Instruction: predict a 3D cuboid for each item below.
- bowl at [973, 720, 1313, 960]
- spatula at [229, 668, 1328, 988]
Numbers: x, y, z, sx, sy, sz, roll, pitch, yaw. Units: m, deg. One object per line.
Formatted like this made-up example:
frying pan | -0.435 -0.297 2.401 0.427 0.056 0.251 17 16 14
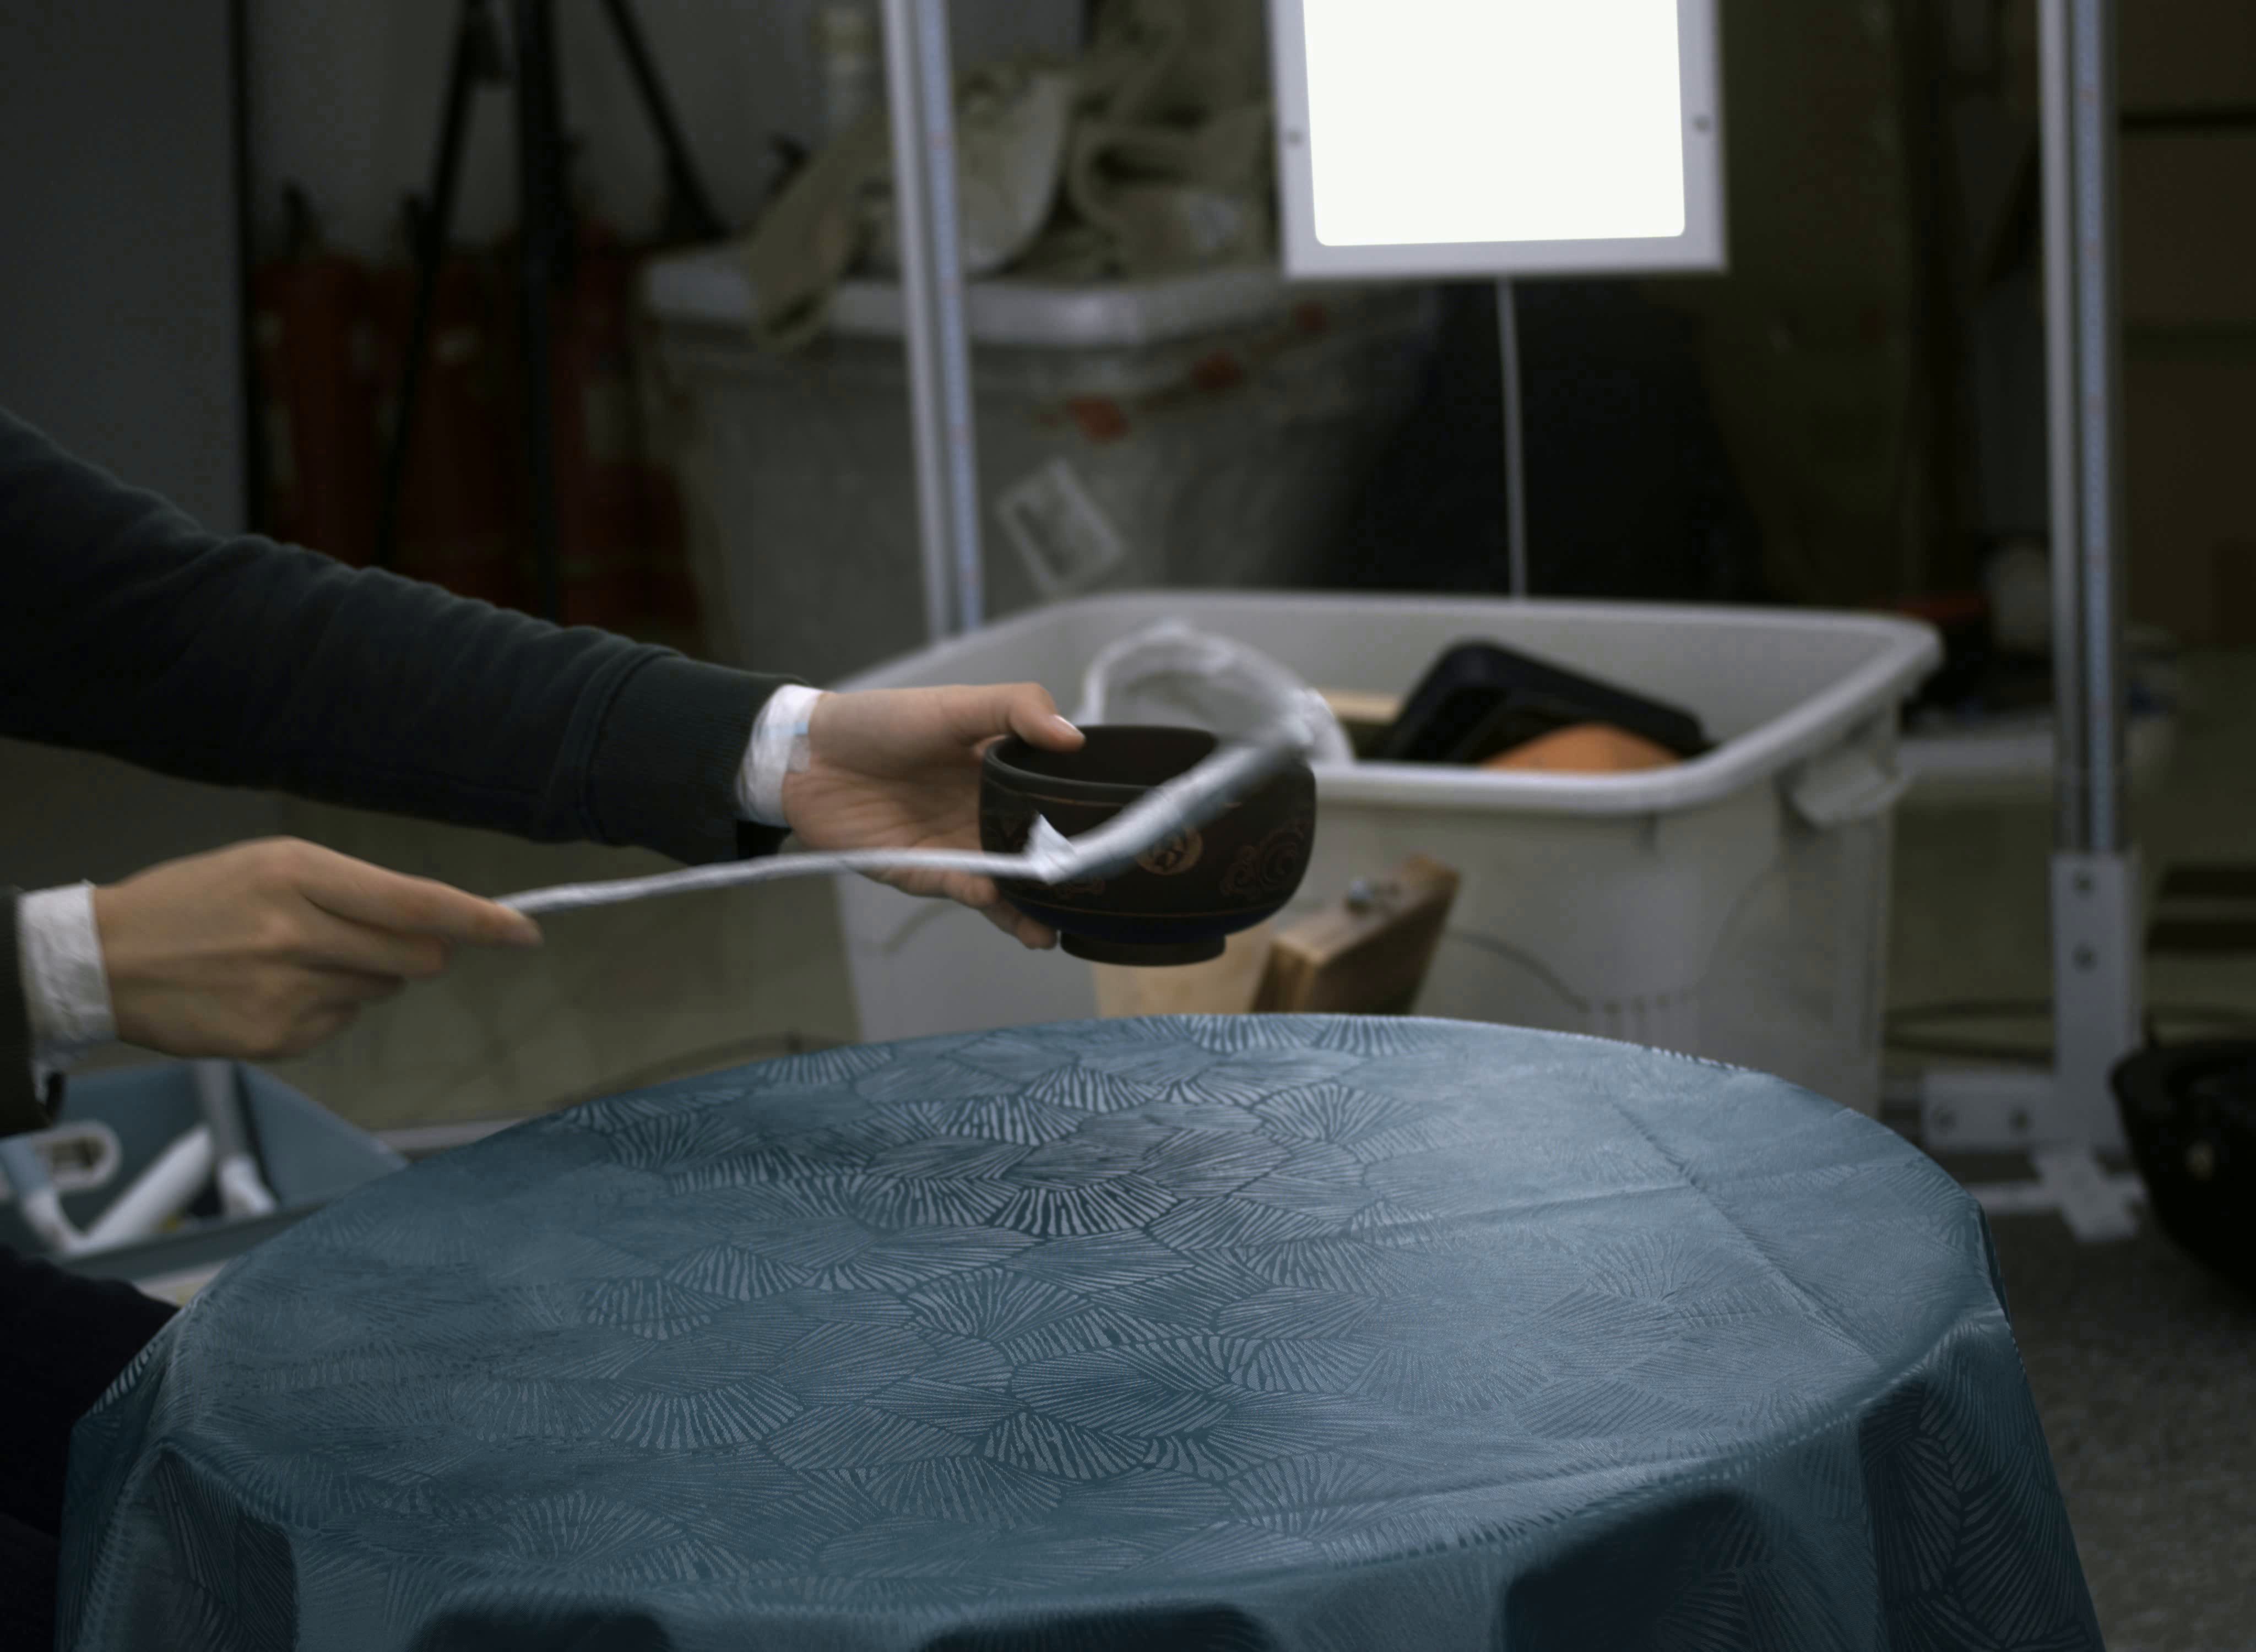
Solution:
bowl | 0.005 0.007 1.894 0.117 0.070 0.118 1 10 -1
spatula | -0.114 0.005 1.703 0.367 0.045 0.097 -9 9 12
